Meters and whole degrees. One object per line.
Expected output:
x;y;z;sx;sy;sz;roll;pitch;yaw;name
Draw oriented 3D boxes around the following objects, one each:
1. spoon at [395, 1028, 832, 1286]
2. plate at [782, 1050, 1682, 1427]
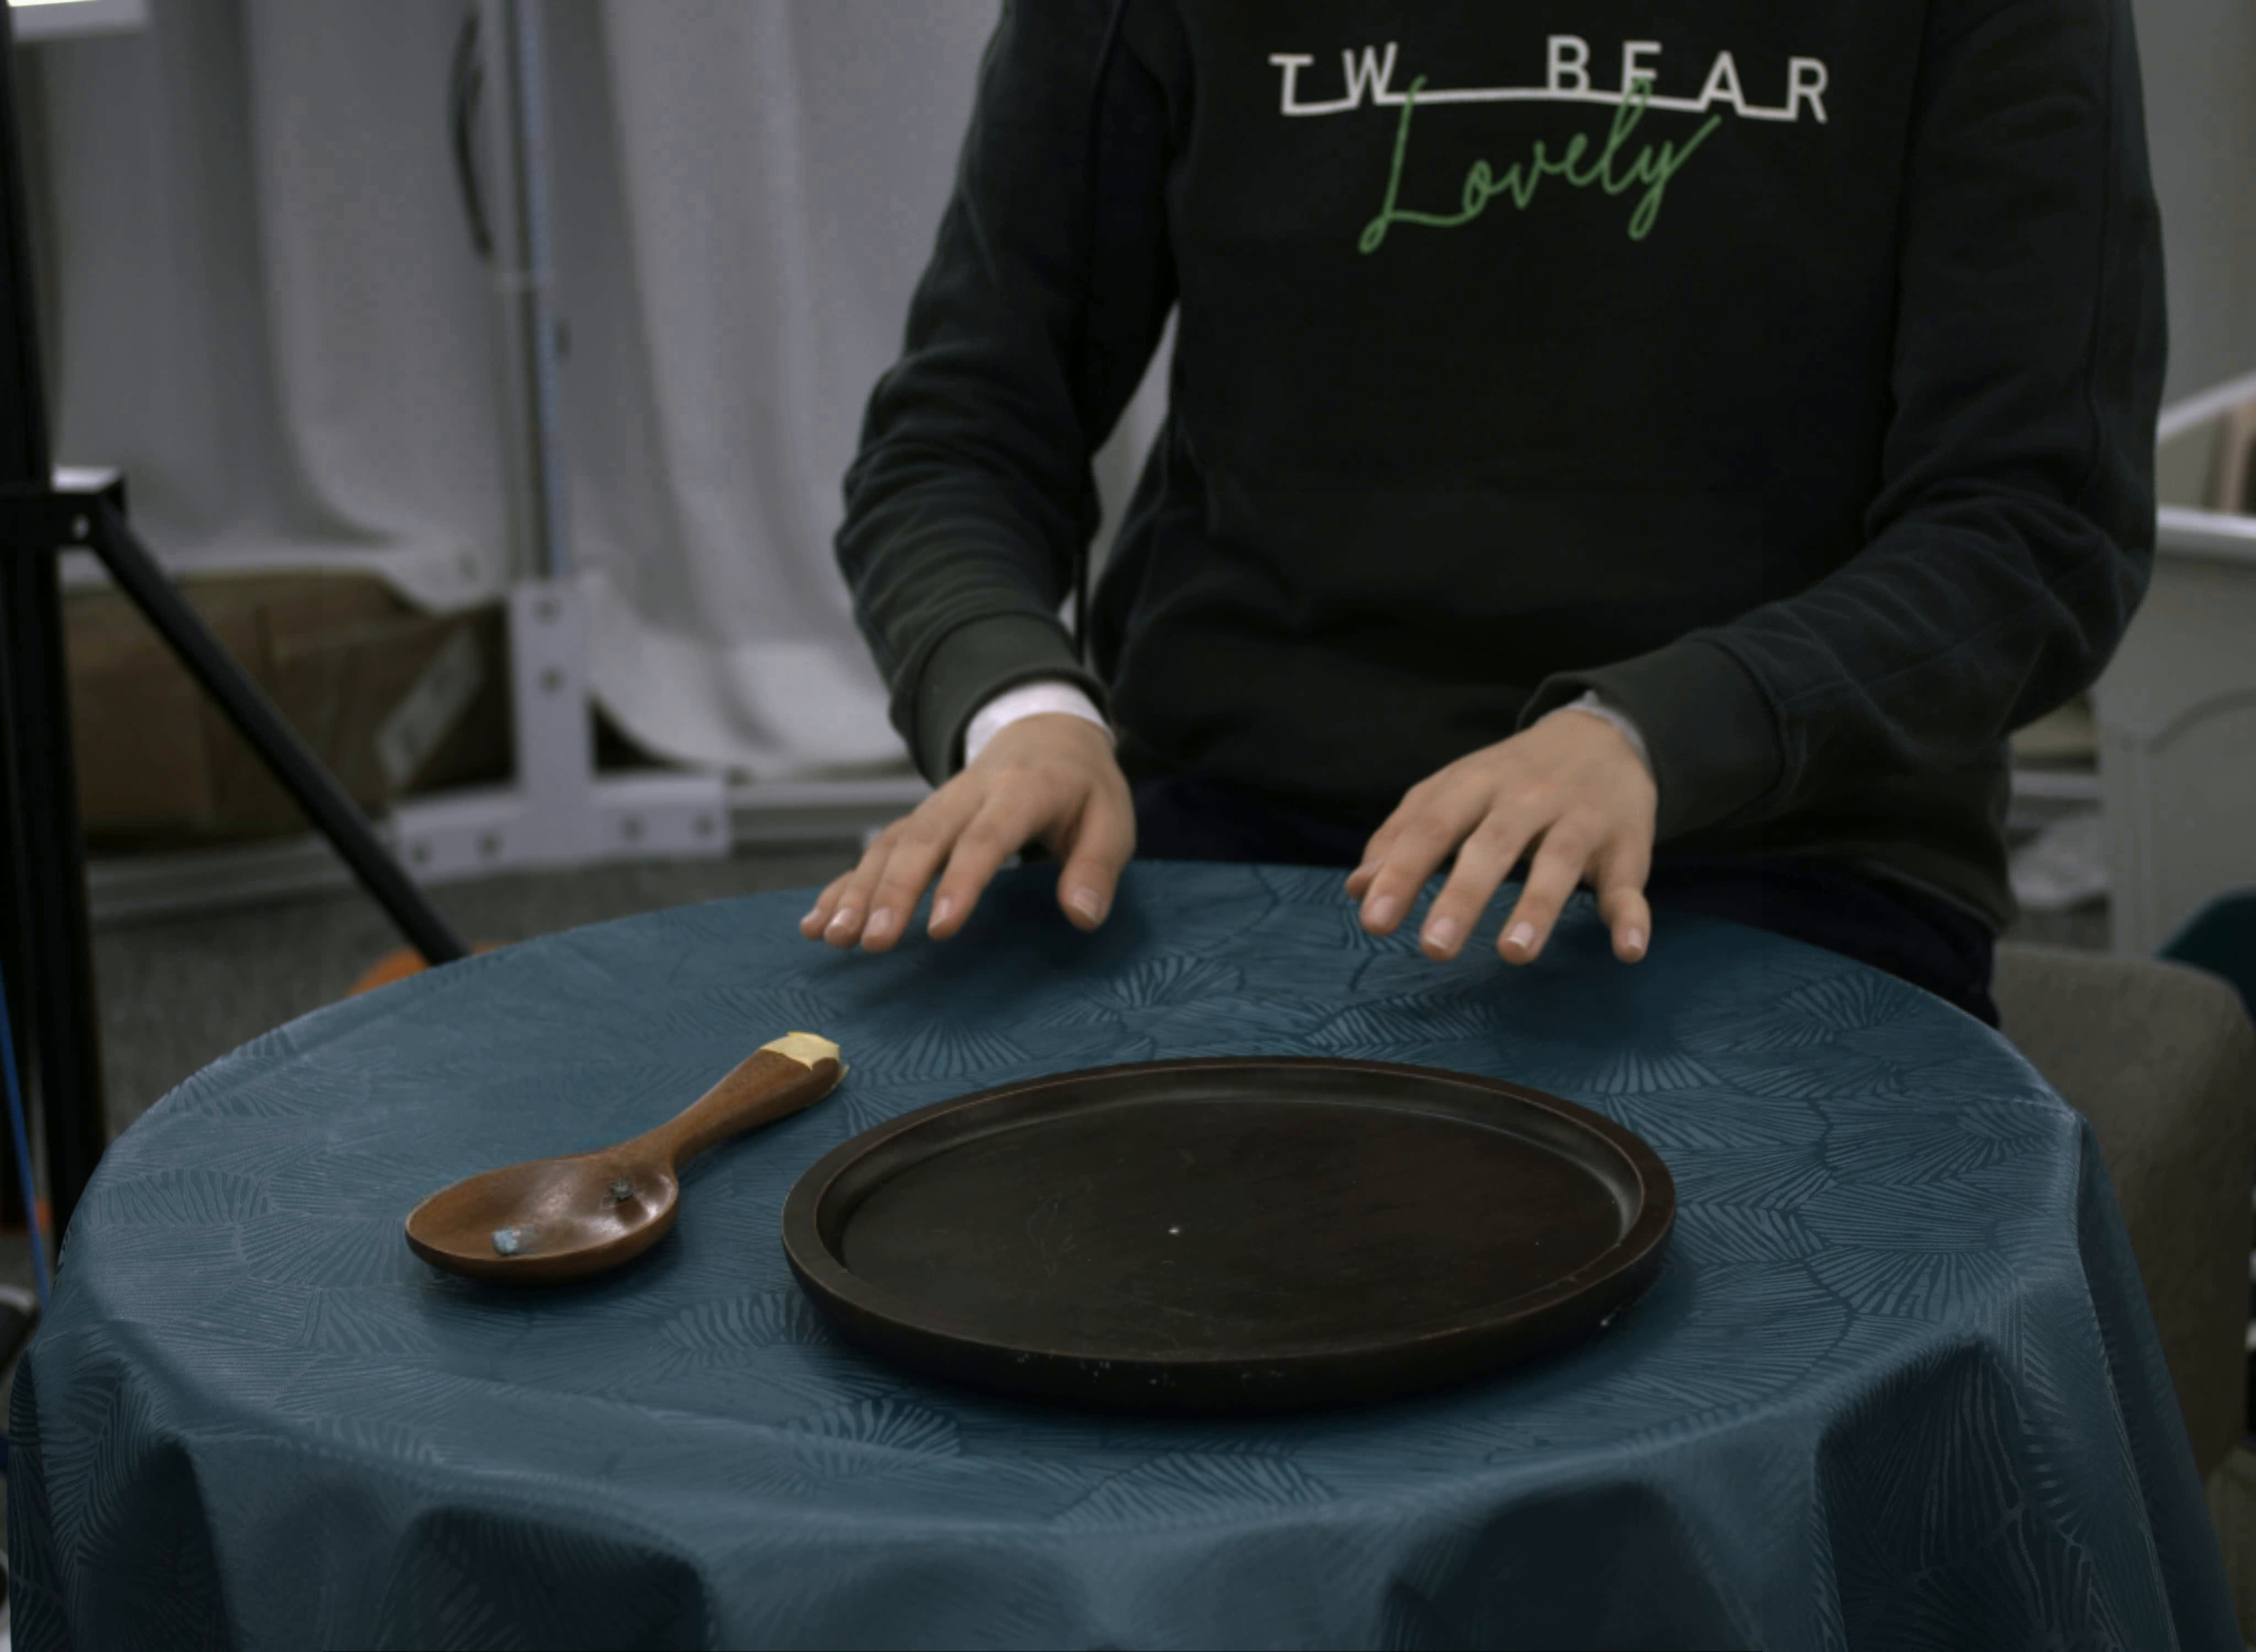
-0.143;0.100;1.585;0.076;0.017;0.213;5;18;24;spoon
0.029;0.114;1.490;0.253;0.029;0.256;-3;17;-1;plate
